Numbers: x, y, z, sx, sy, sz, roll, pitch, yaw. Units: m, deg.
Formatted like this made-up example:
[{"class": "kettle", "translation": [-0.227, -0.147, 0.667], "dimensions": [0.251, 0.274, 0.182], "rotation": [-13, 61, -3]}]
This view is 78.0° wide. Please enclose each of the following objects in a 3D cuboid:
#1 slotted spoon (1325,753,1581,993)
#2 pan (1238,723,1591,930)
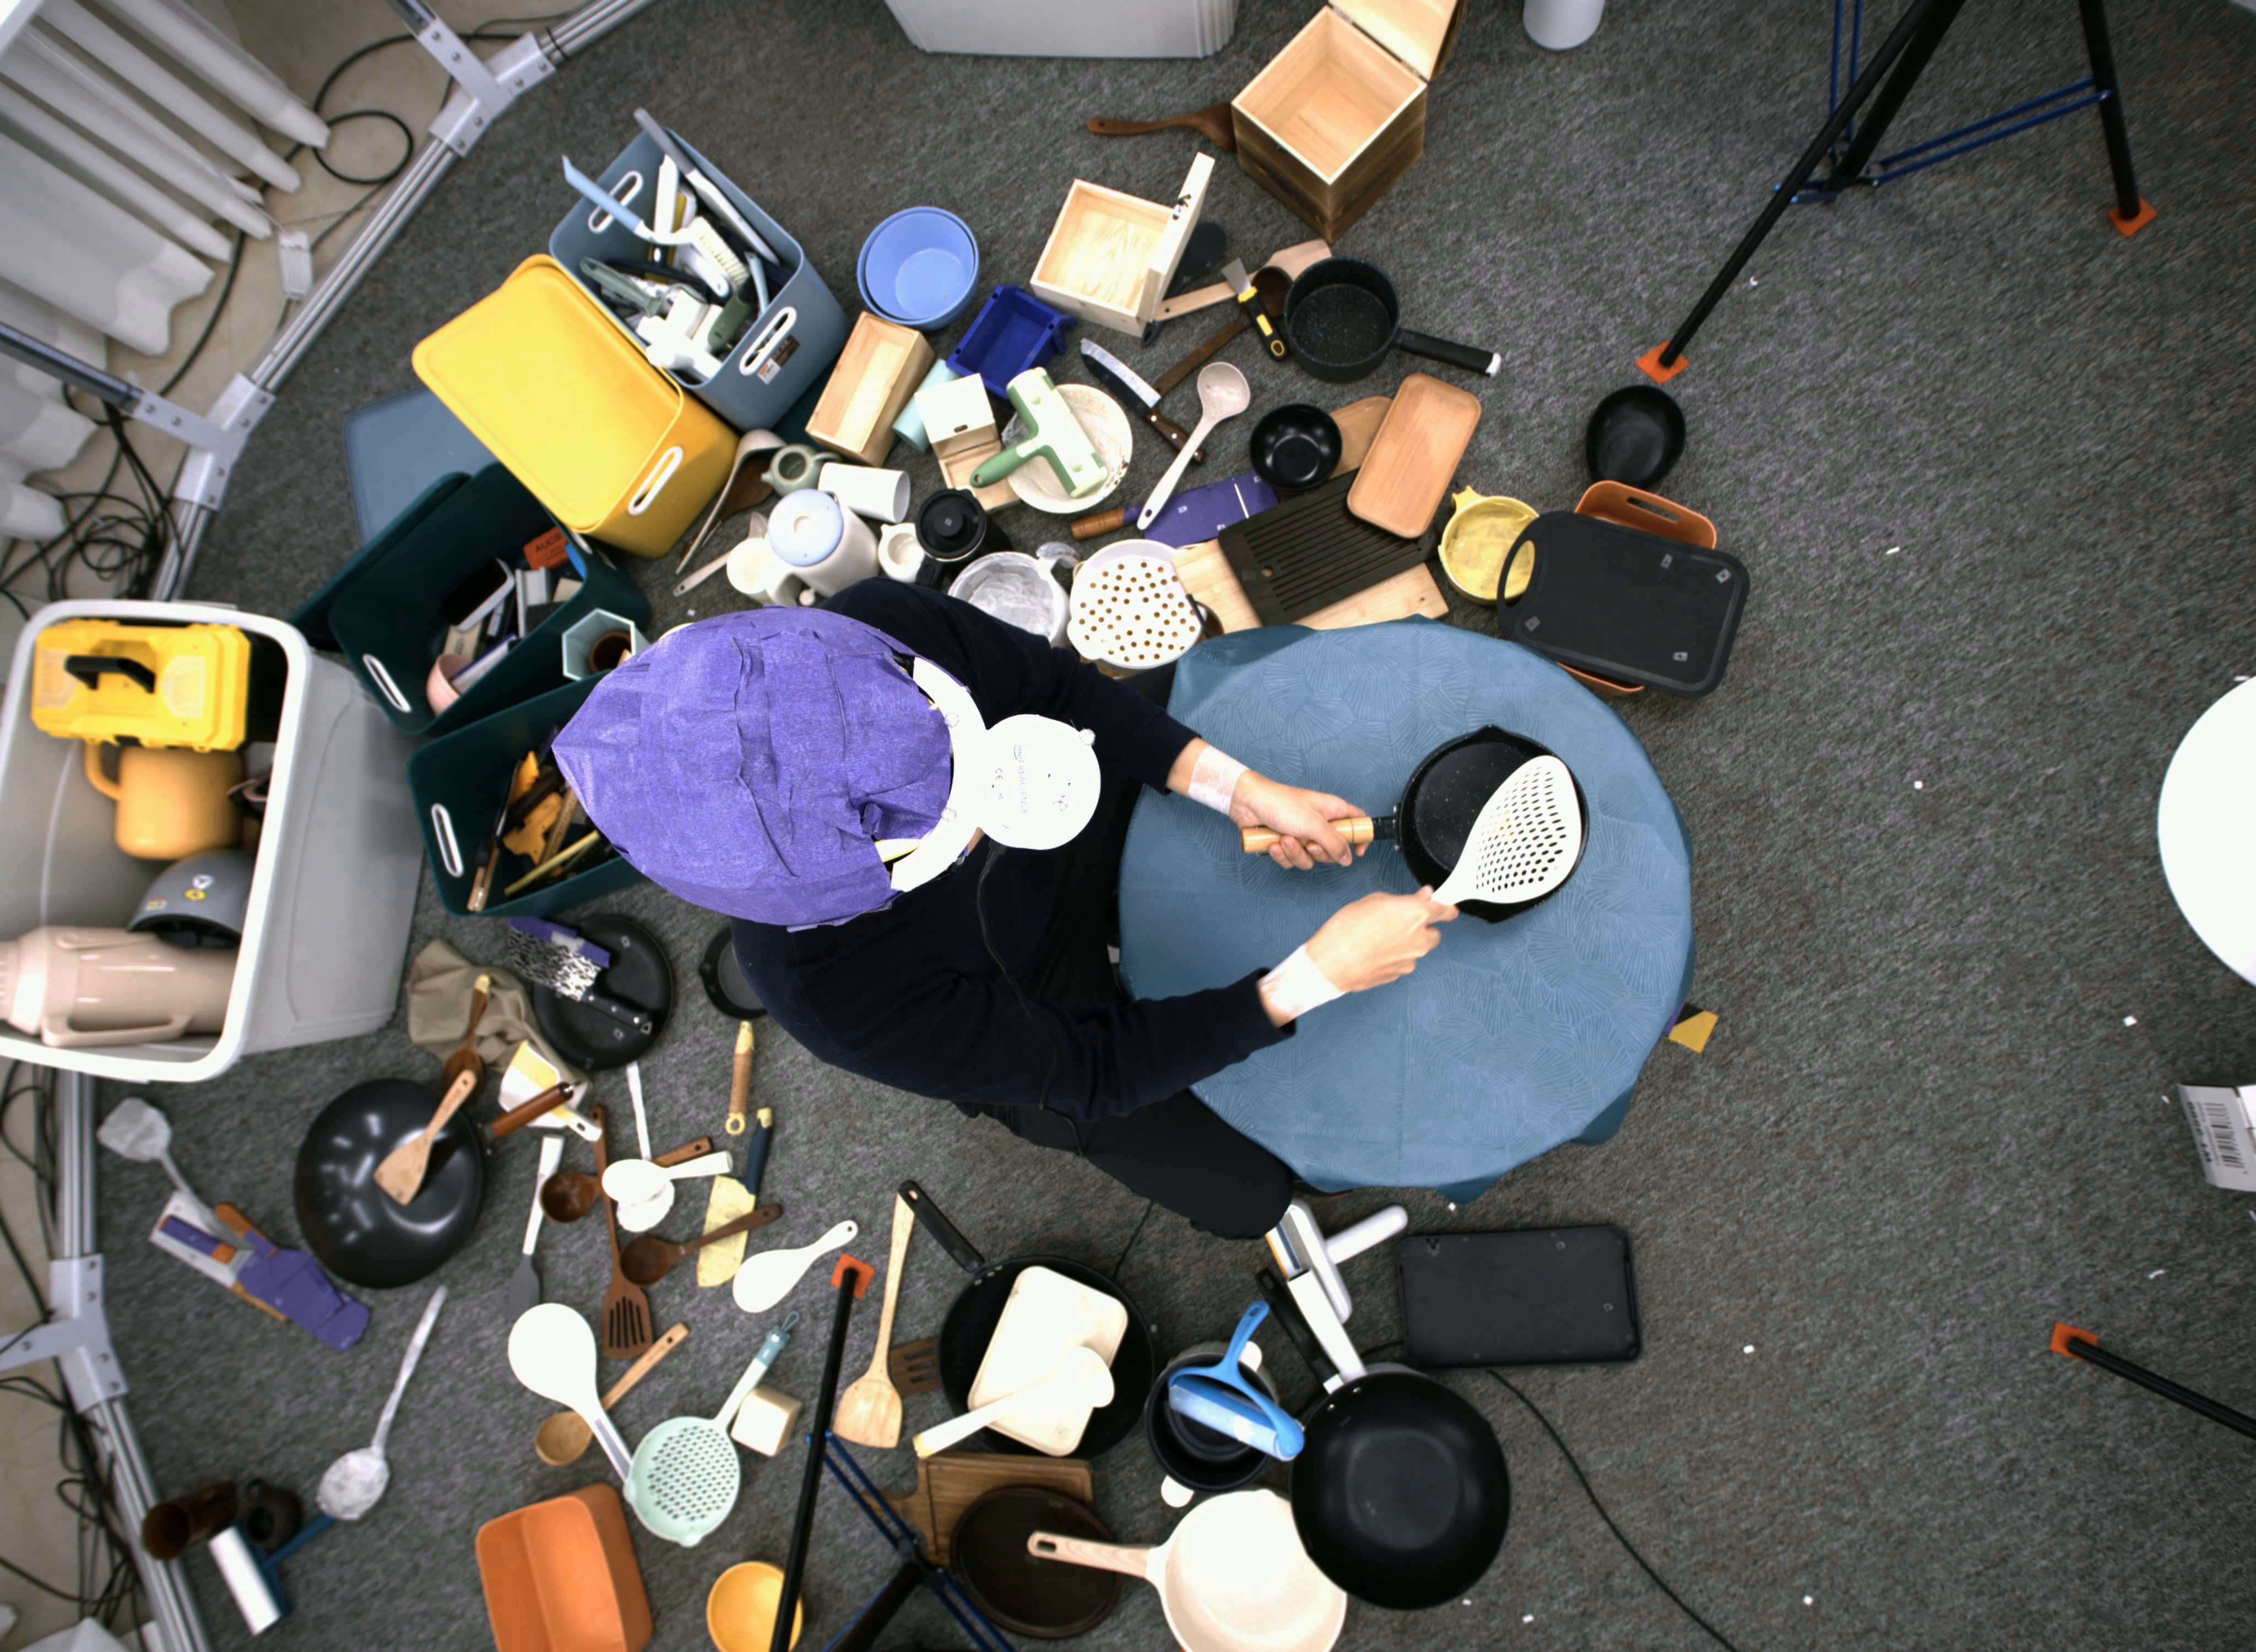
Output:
[{"class": "slotted spoon", "translation": [0.308, 0.050, 1.285], "dimensions": [0.341, 0.050, 0.139], "rotation": [-36, 118, -30]}, {"class": "pan", "translation": [0.285, -0.001, 1.389], "dimensions": [0.344, 0.106, 0.209], "rotation": [-4, 104, 9]}]
